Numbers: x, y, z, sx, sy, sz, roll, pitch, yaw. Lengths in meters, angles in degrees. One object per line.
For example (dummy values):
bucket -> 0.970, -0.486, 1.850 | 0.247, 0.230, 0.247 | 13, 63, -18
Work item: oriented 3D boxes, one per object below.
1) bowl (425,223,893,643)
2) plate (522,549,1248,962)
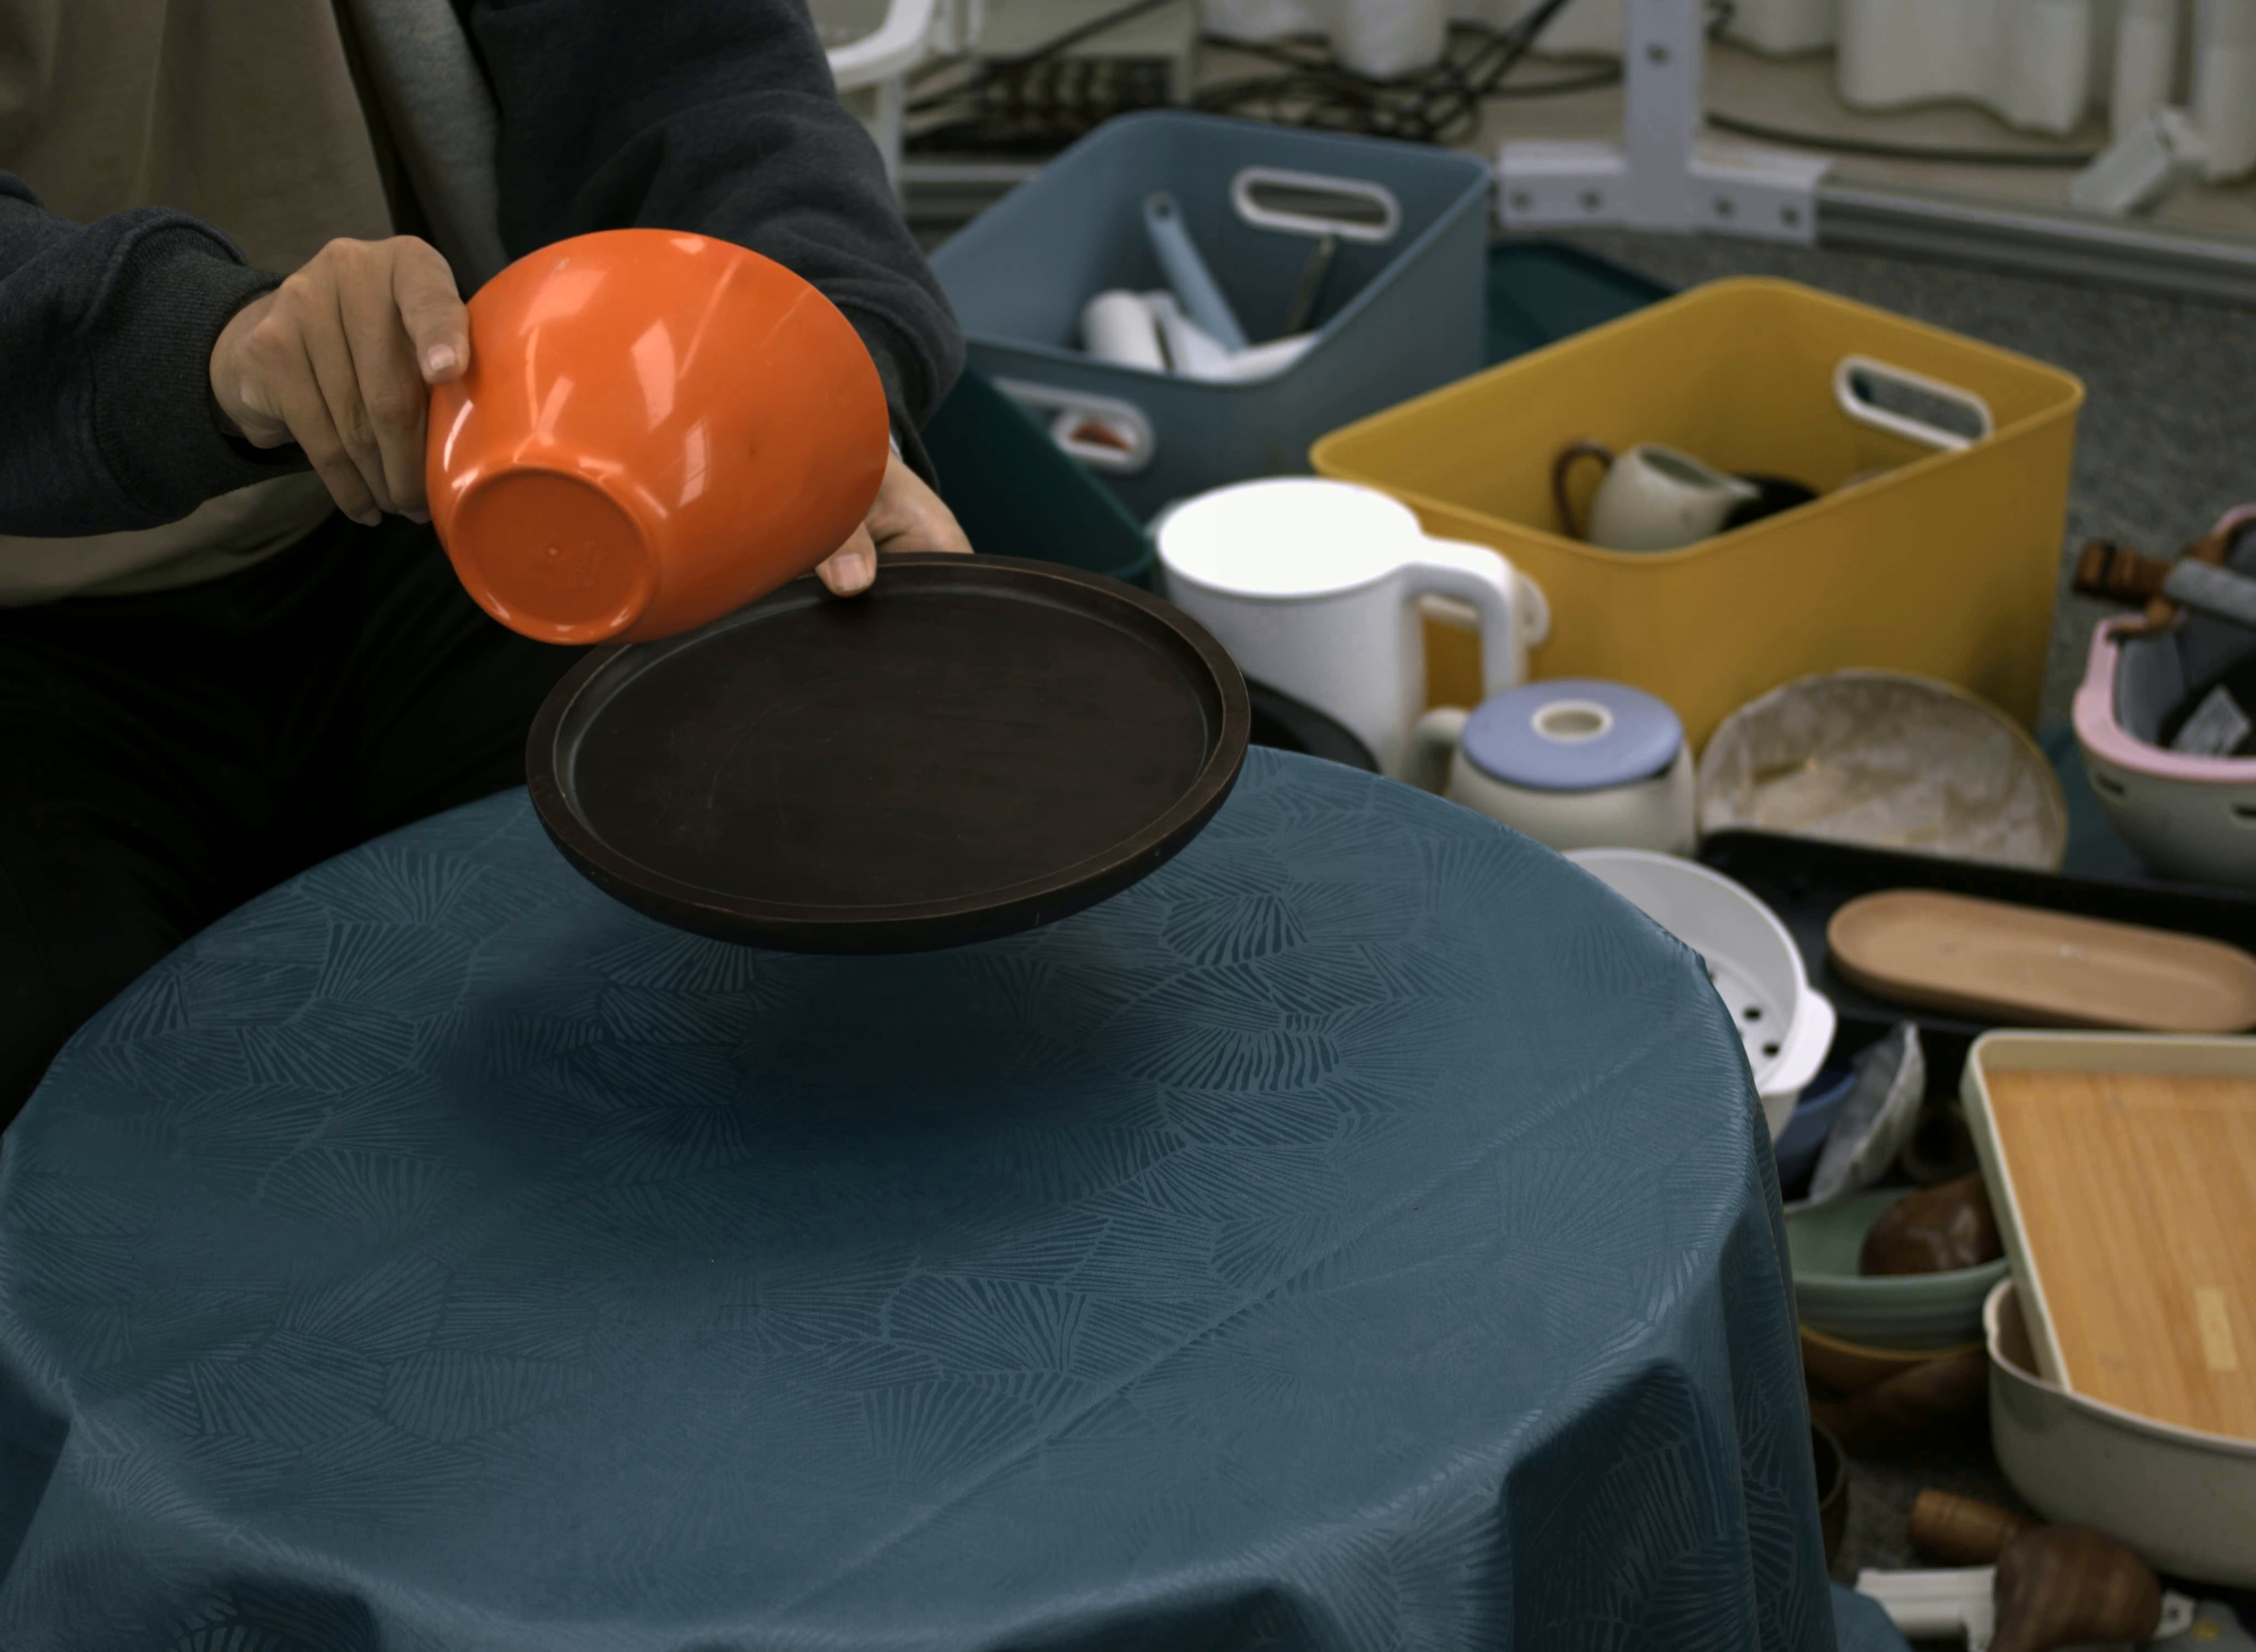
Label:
bowl -> -0.158, -0.109, 1.789 | 0.147, 0.146, 0.107 | 4, 35, 12
plate -> -0.083, -0.026, 1.951 | 0.253, 0.028, 0.259 | -3, 31, 2
